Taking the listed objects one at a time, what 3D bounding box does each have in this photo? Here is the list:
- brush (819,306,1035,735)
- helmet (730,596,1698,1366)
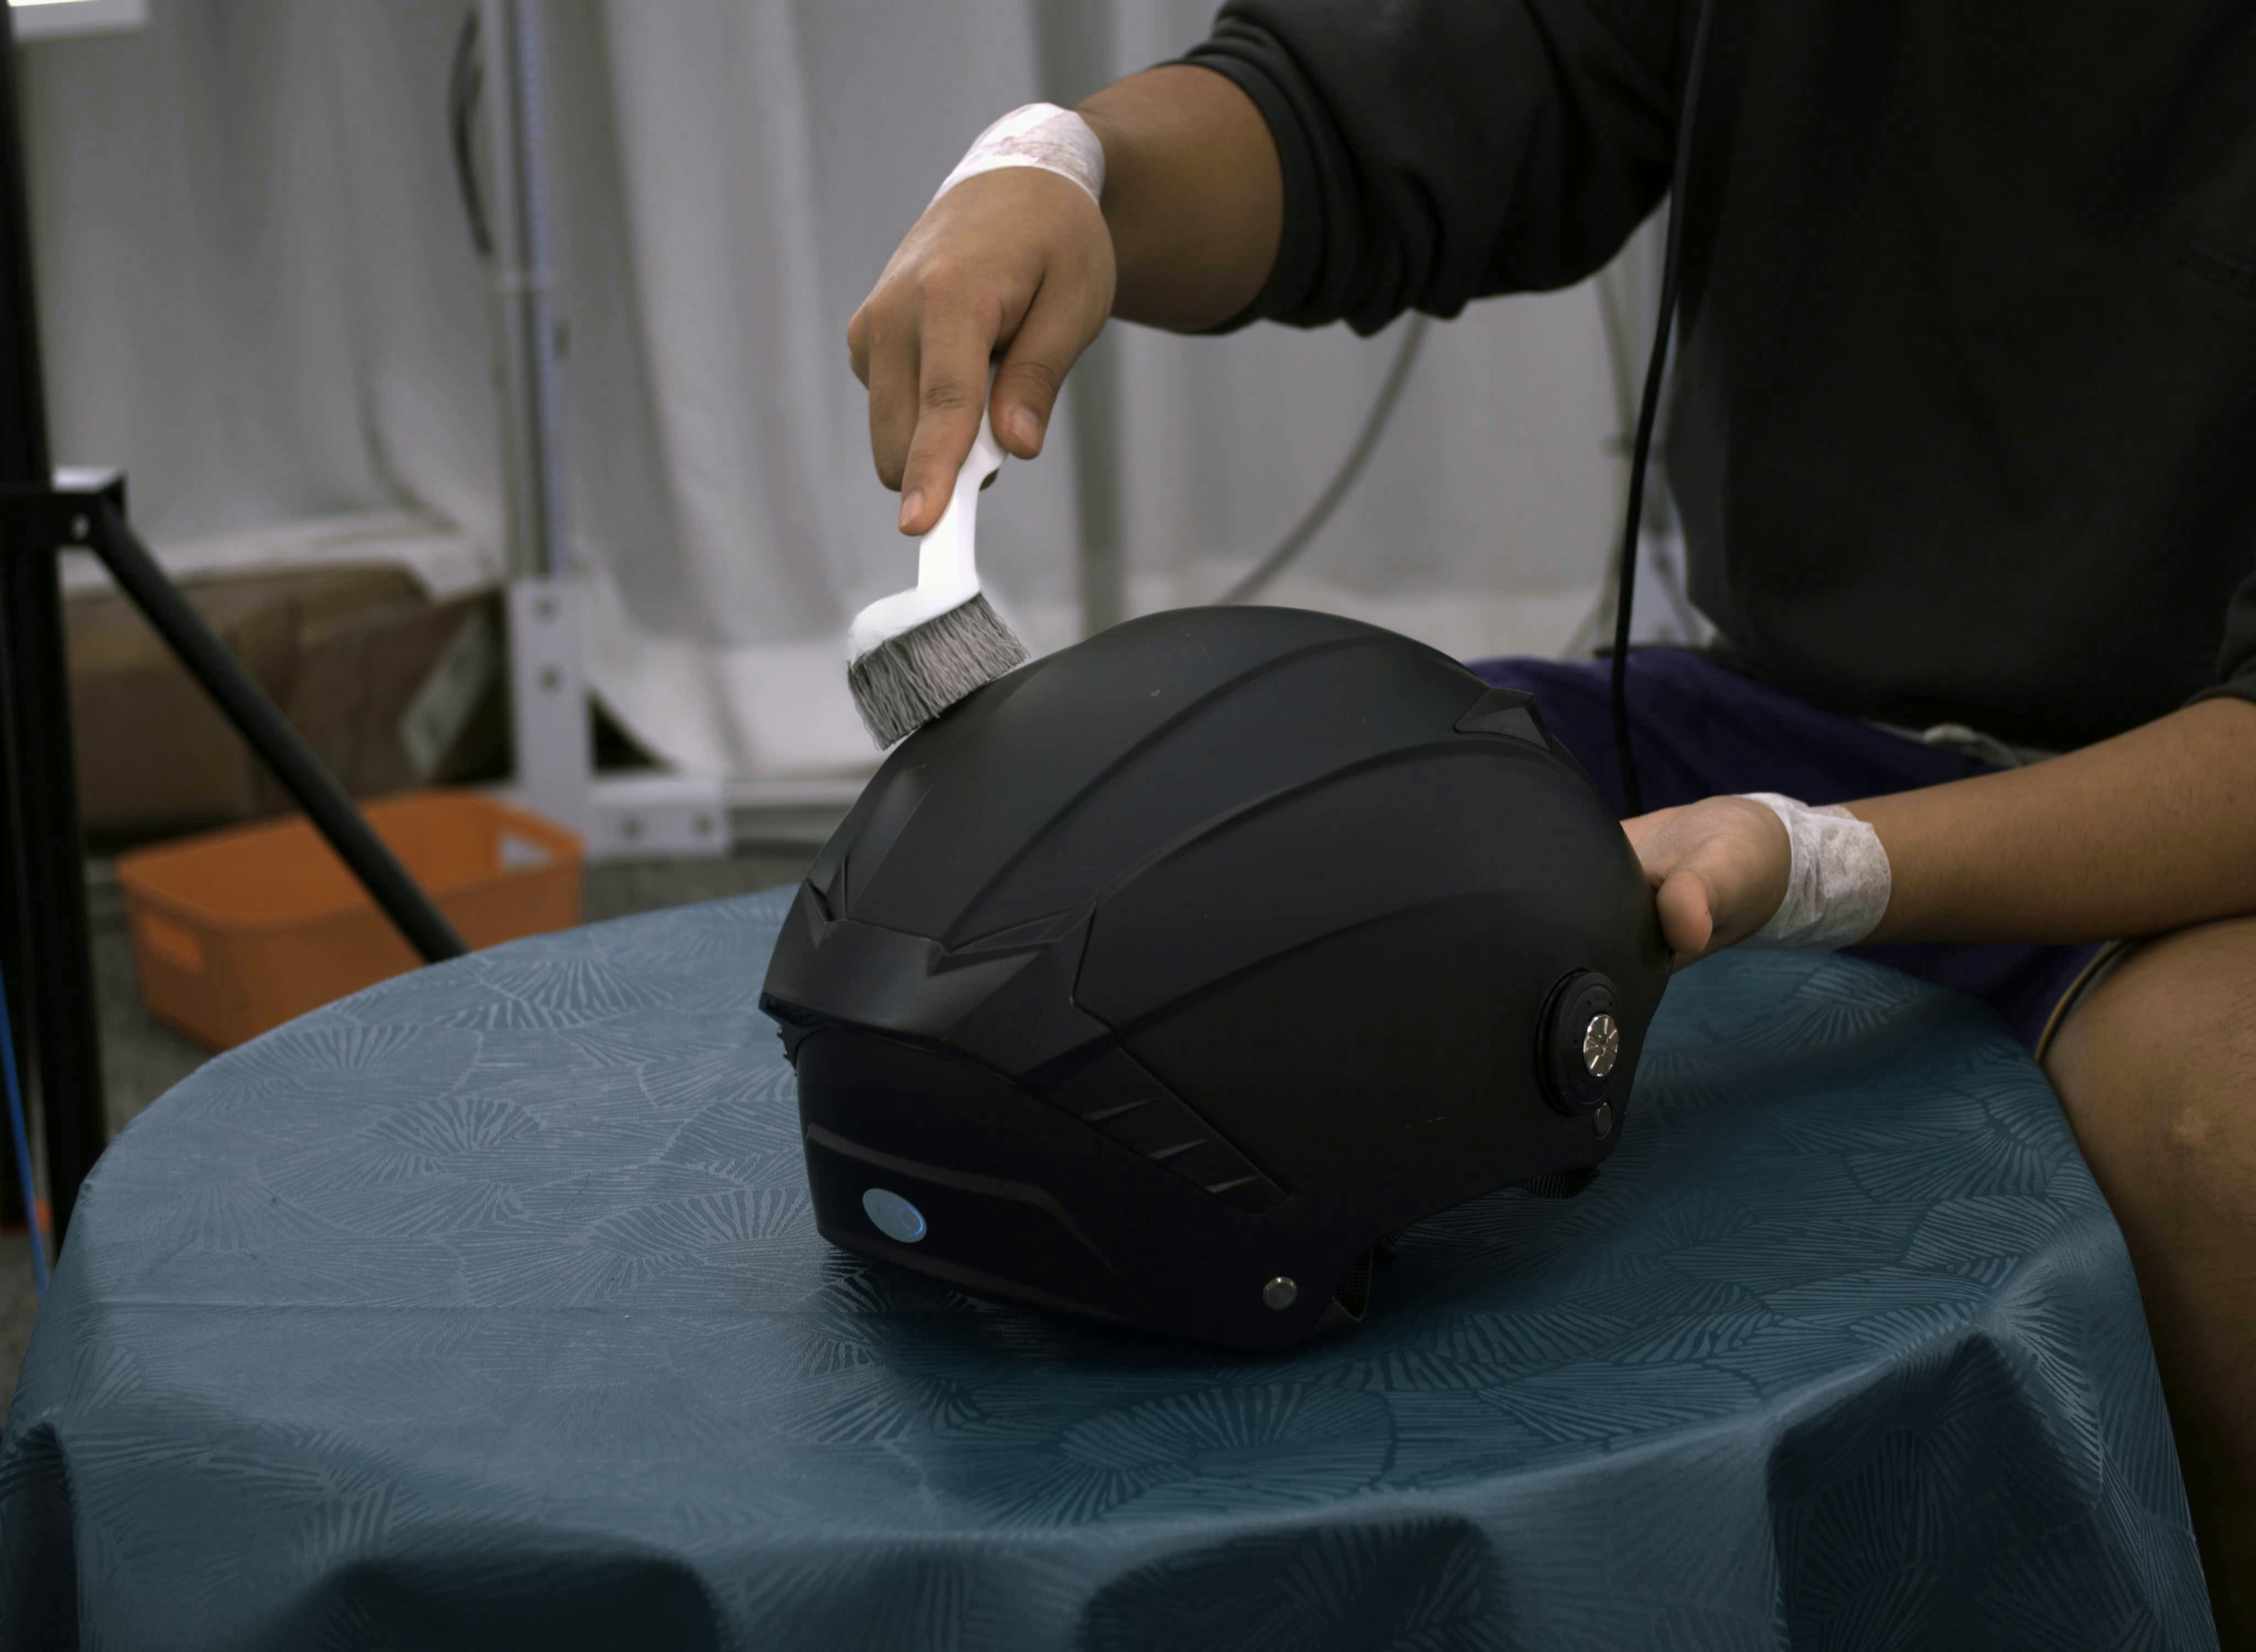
[{"bbox_3d":[-0.045,-0.093,1.604,0.035,0.050,0.243,-34,17,23],"label":"brush"},{"bbox_3d":[0.024,0.025,1.499,0.252,0.171,0.273,15,41,44],"label":"helmet"}]
